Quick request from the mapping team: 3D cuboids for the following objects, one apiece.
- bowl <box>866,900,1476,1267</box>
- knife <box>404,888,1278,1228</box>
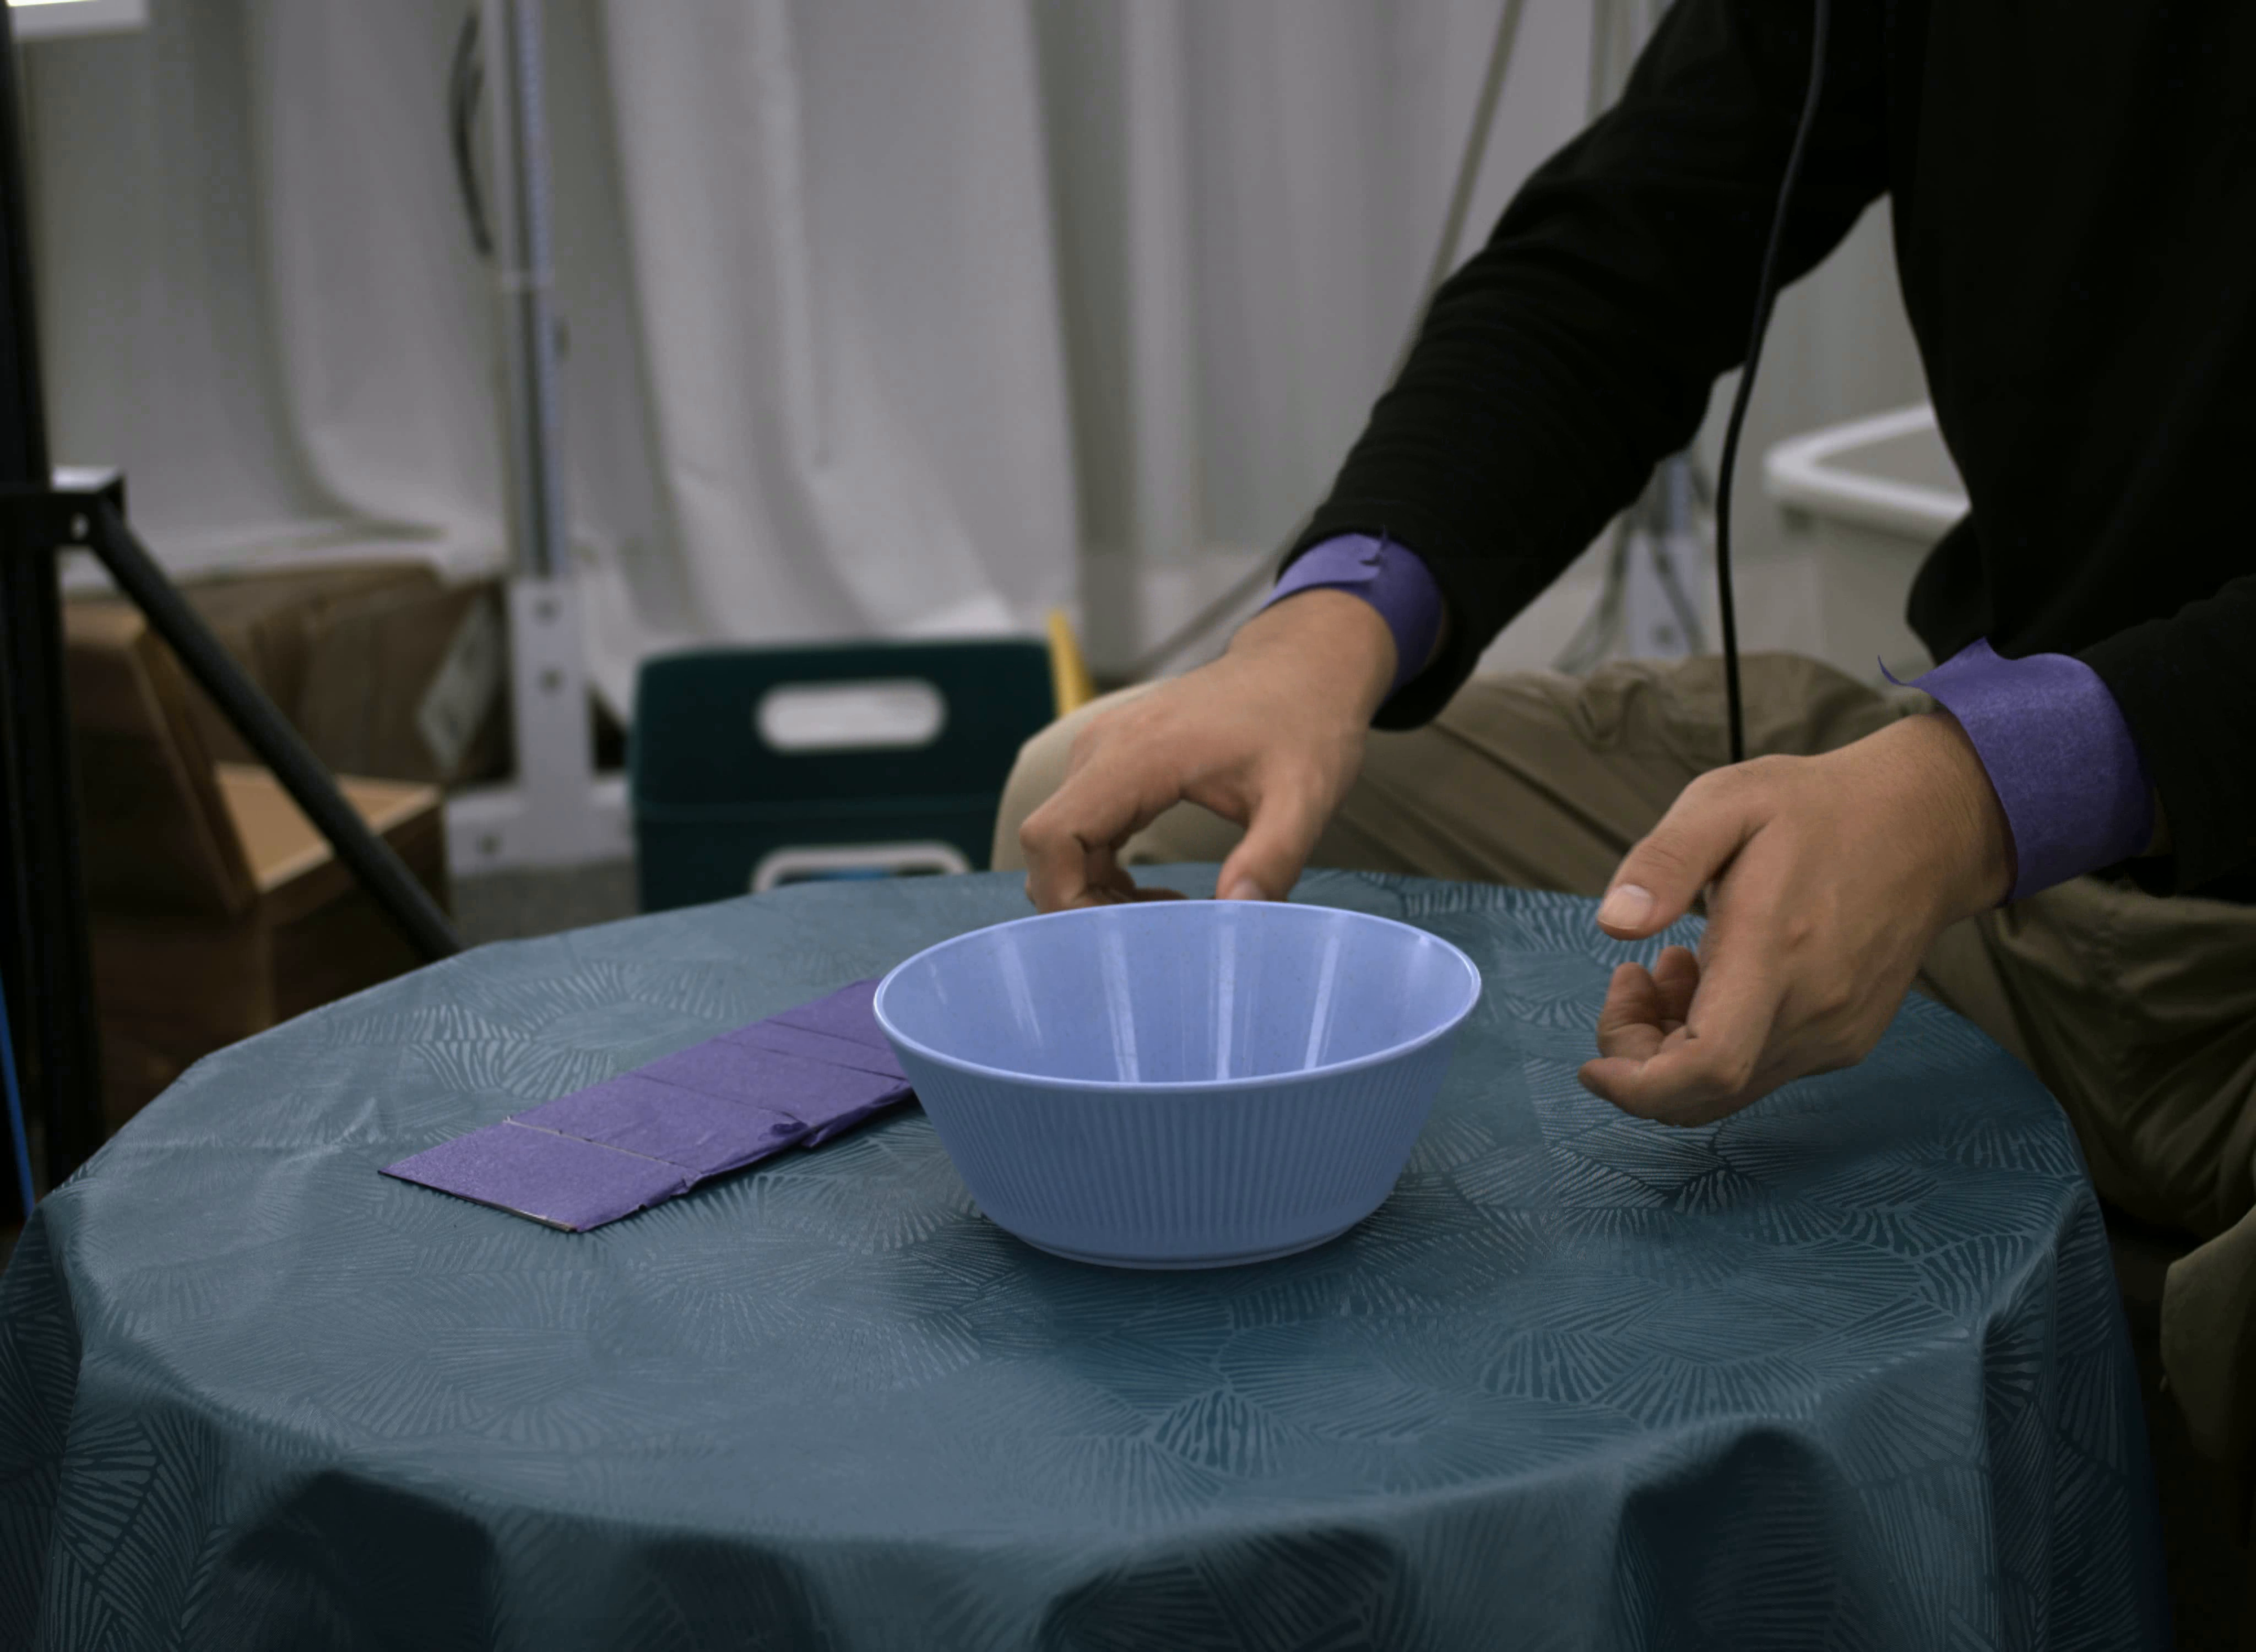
[{"bbox_3d":[0.013,0.077,1.533,0.175,0.070,0.177,-1,16,-1],"label":"bowl"},{"bbox_3d":[-0.086,0.066,1.669,0.106,0.032,0.308,13,23,43],"label":"knife"}]
